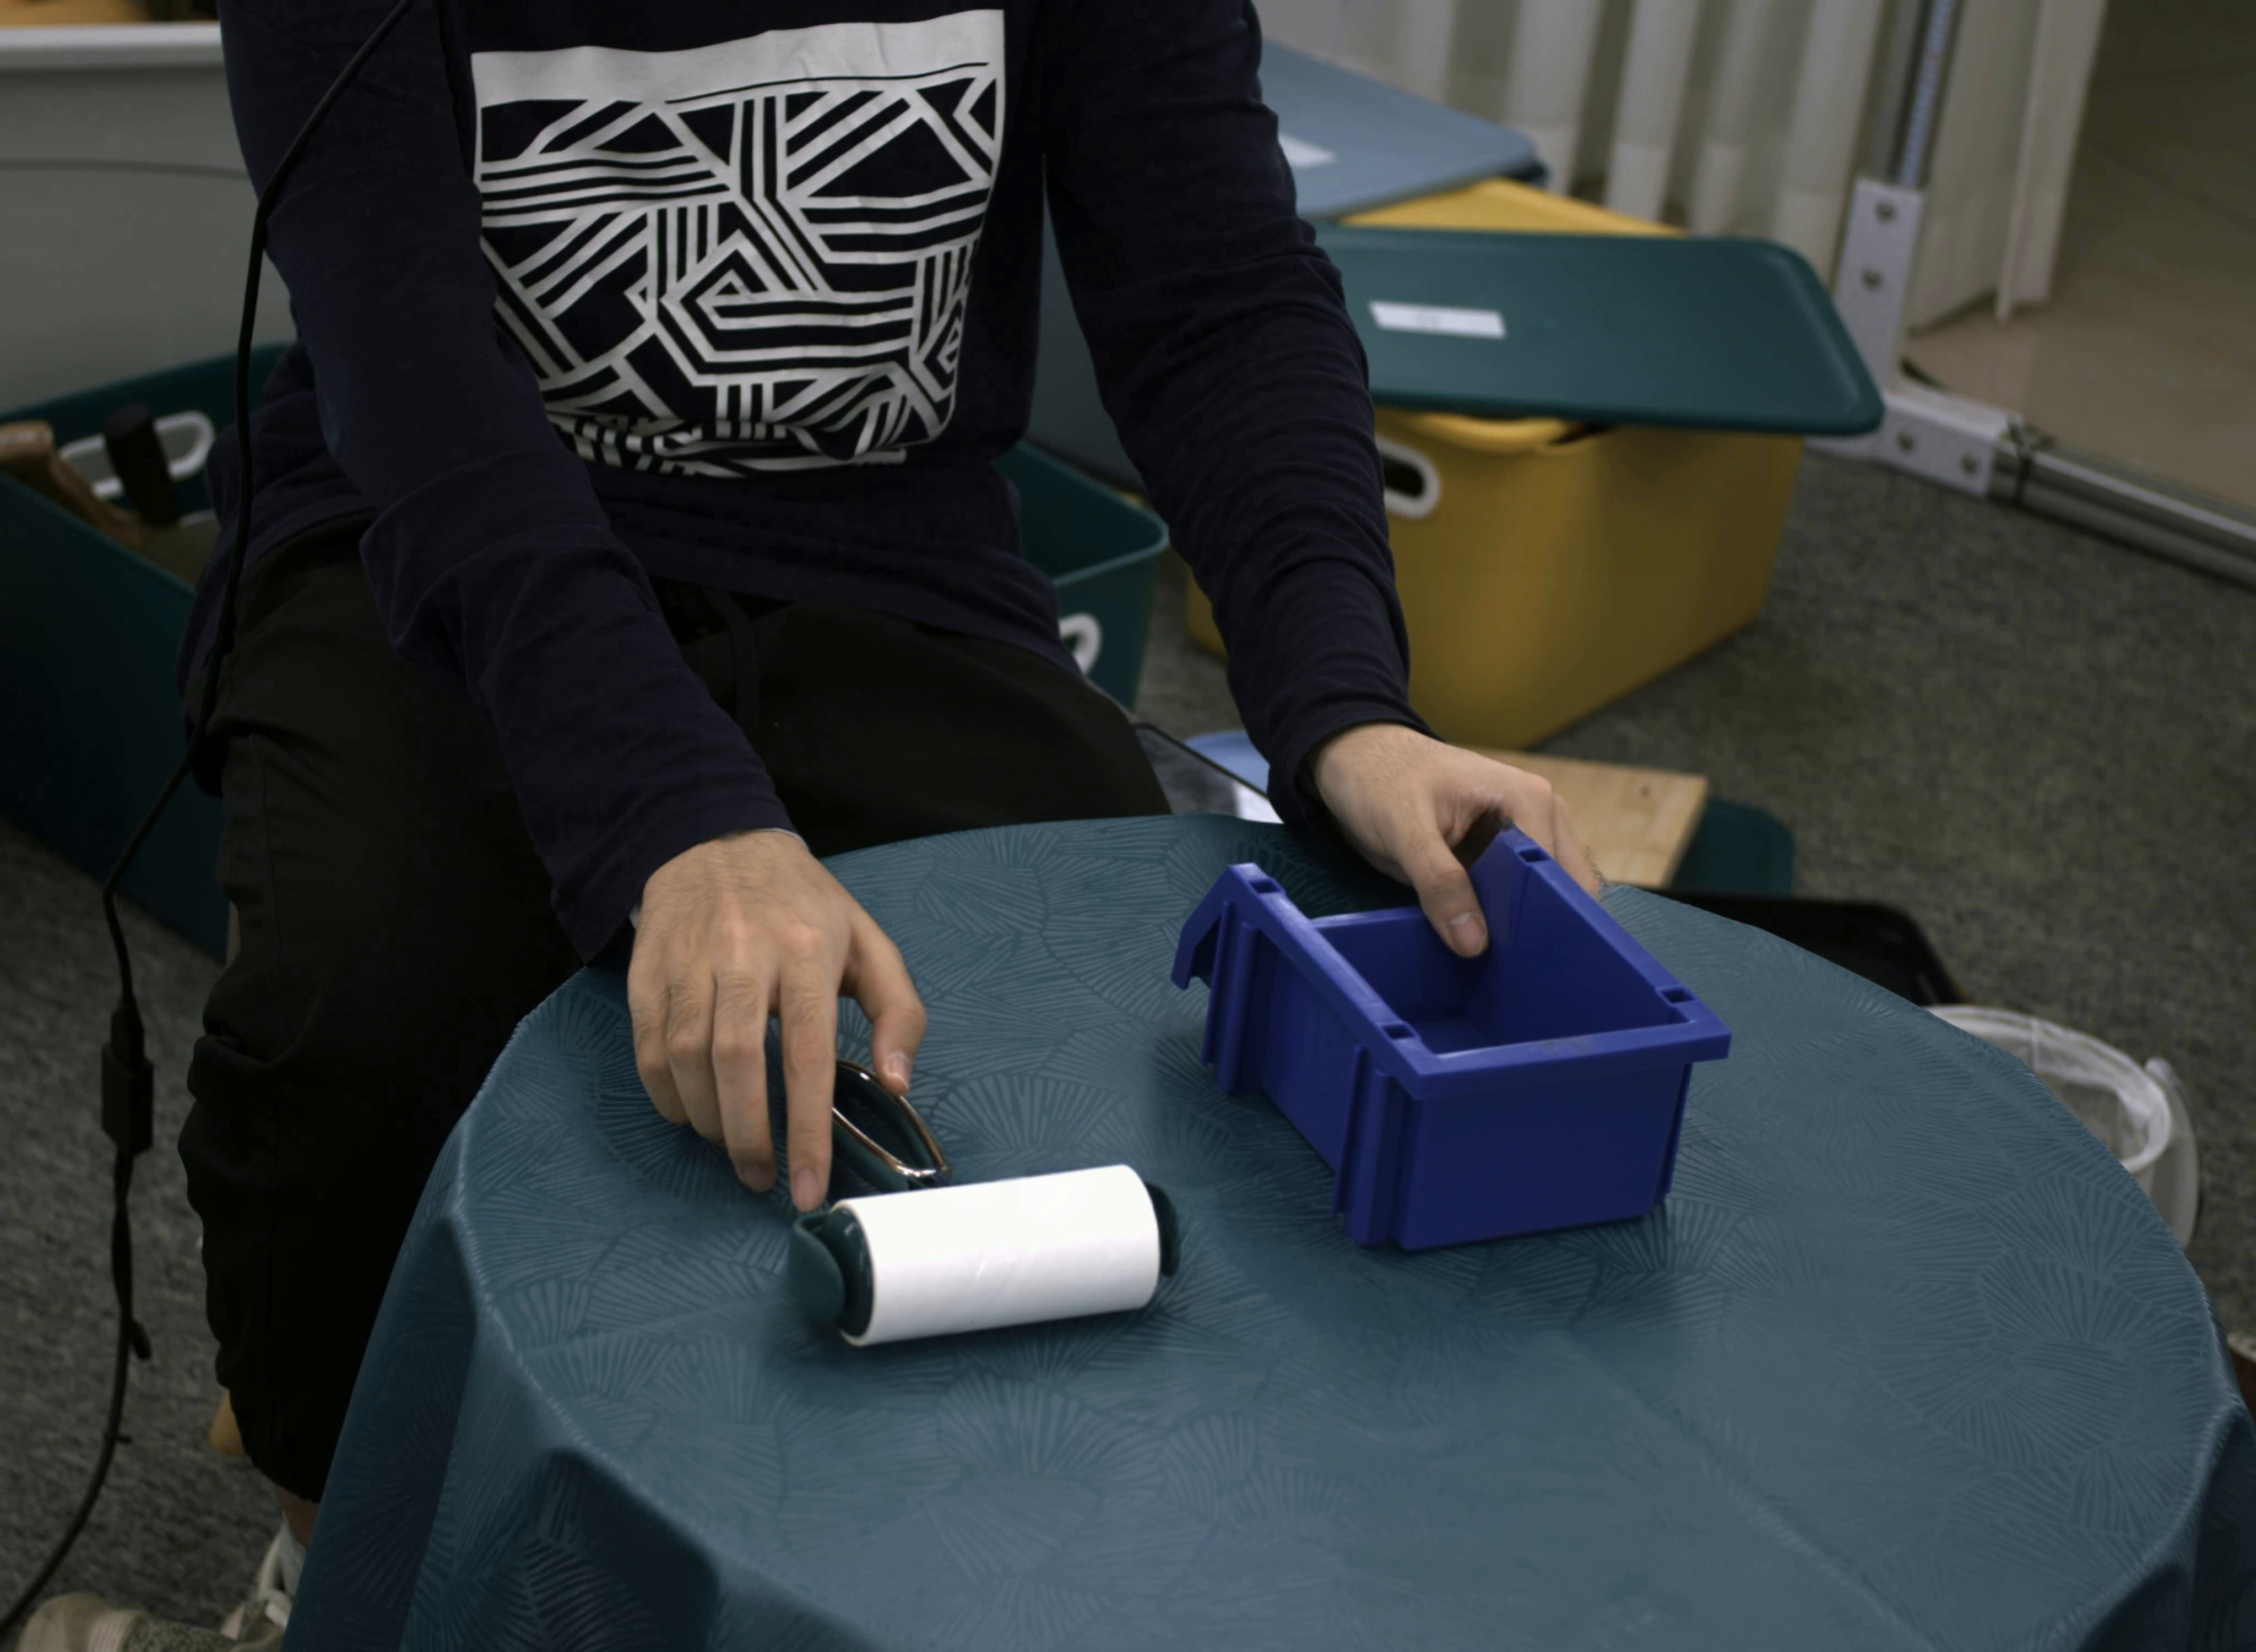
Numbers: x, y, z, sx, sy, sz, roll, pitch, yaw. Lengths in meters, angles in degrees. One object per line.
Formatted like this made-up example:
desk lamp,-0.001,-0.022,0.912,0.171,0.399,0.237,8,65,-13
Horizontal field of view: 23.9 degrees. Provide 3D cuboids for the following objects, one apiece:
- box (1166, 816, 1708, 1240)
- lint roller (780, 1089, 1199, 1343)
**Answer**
box,0.102,0.065,1.855,0.124,0.081,0.181,-6,32,-22
lint roller,-0.073,0.111,1.770,0.133,0.048,0.181,-5,26,-24
